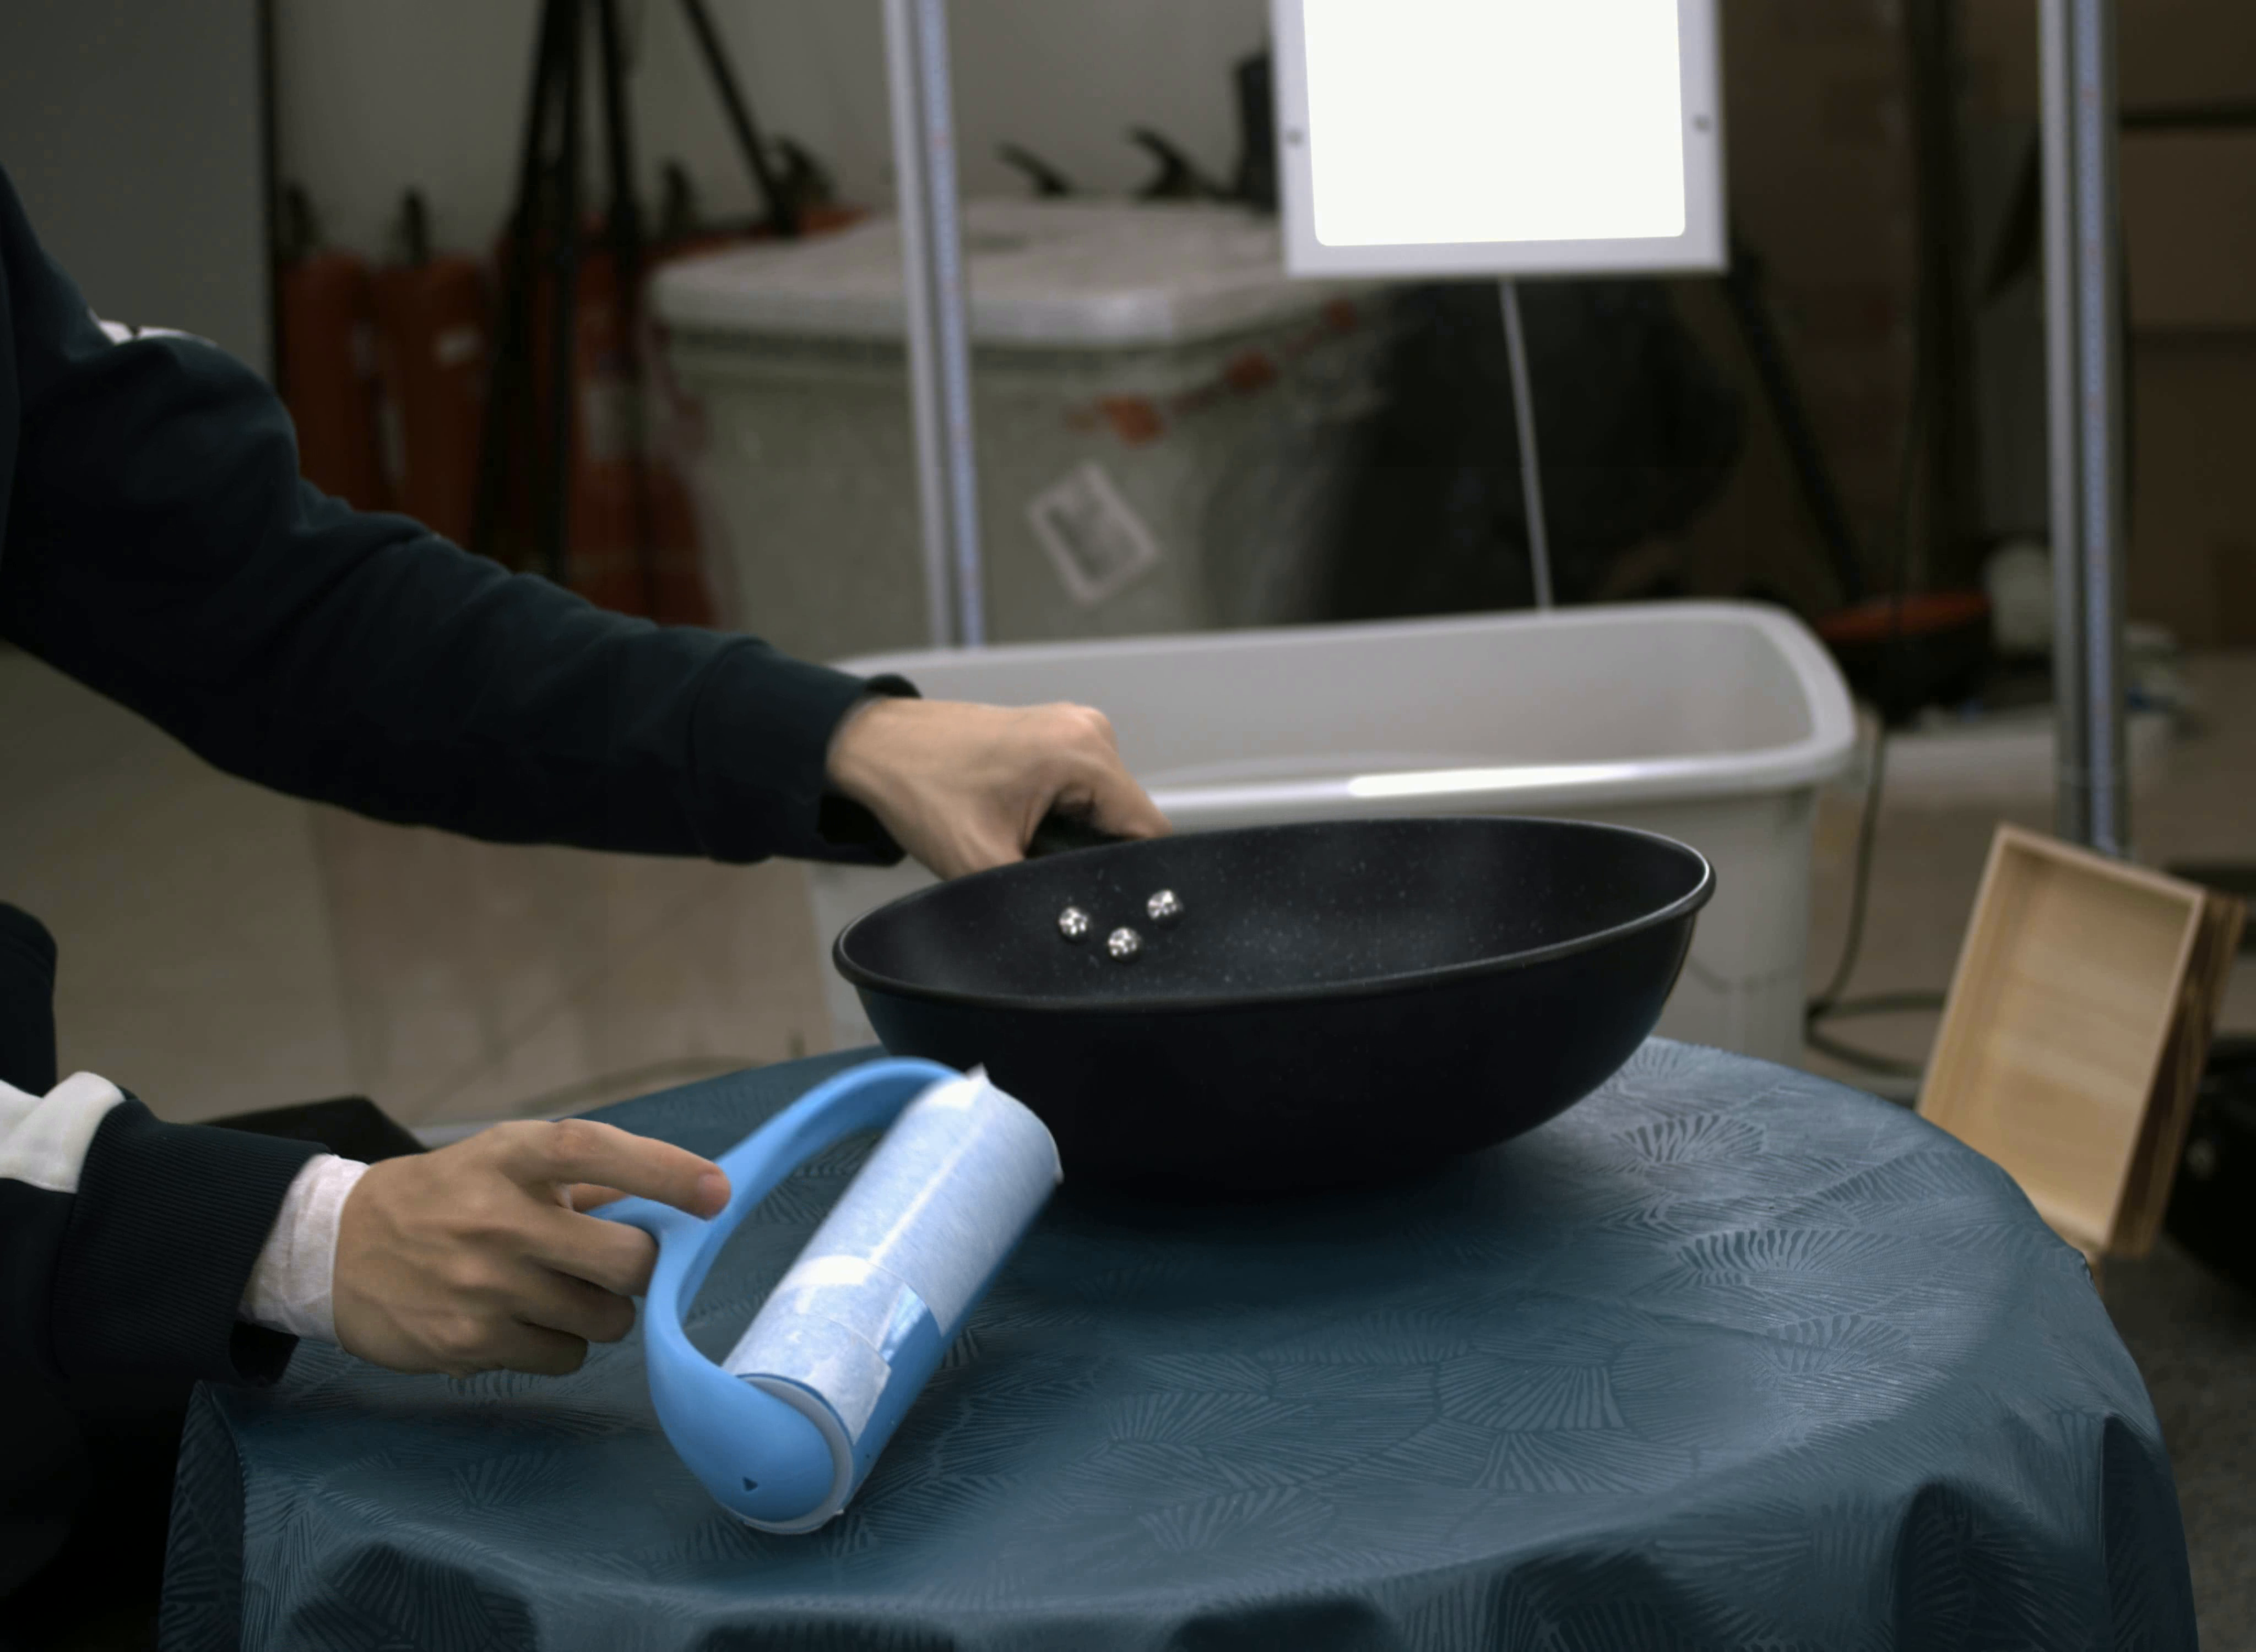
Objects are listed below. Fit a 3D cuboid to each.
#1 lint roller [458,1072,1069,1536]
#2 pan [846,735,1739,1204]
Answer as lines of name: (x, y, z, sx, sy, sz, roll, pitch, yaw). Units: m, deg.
lint roller: (-0.127, 0.145, 1.693, 0.182, 0.068, 0.226, -2, 24, 16)
pan: (0.025, 0.049, 1.984, 0.304, 0.112, 0.484, -8, 10, -22)
